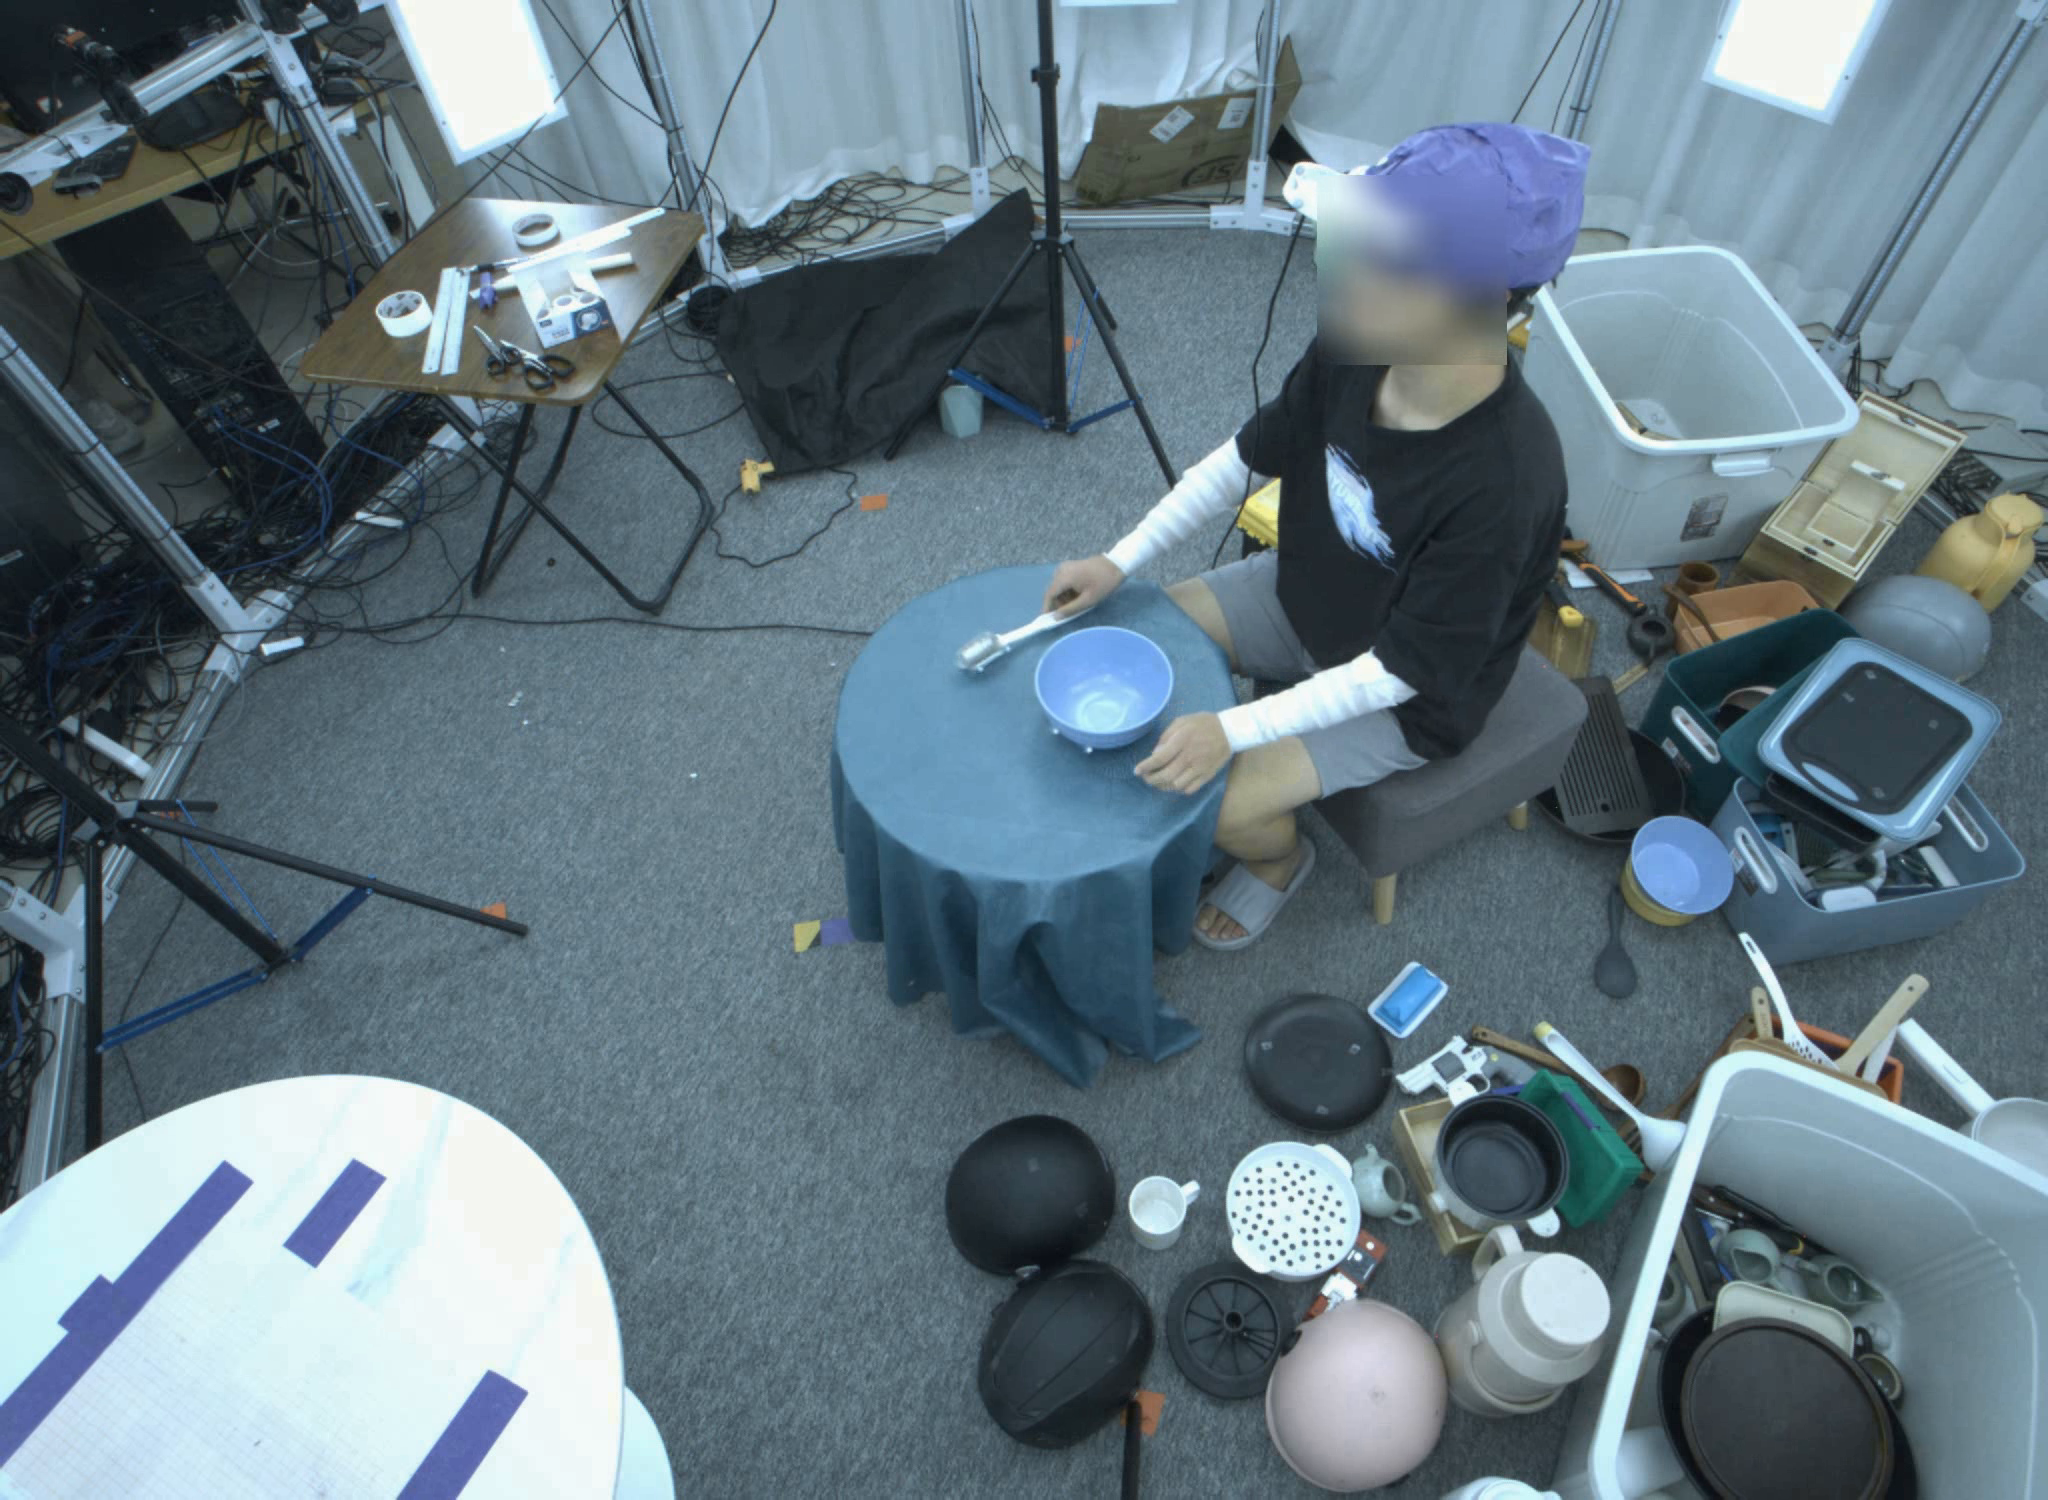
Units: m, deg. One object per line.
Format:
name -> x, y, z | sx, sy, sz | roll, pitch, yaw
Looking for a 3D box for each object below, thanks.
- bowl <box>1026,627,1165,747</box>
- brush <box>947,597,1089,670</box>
bowl -> 0.102, -0.075, 1.774 | 0.196, 0.096, 0.194 | 0, 52, 1
brush -> -0.006, -0.188, 1.877 | 0.245, 0.050, 0.034 | -26, 72, -14
